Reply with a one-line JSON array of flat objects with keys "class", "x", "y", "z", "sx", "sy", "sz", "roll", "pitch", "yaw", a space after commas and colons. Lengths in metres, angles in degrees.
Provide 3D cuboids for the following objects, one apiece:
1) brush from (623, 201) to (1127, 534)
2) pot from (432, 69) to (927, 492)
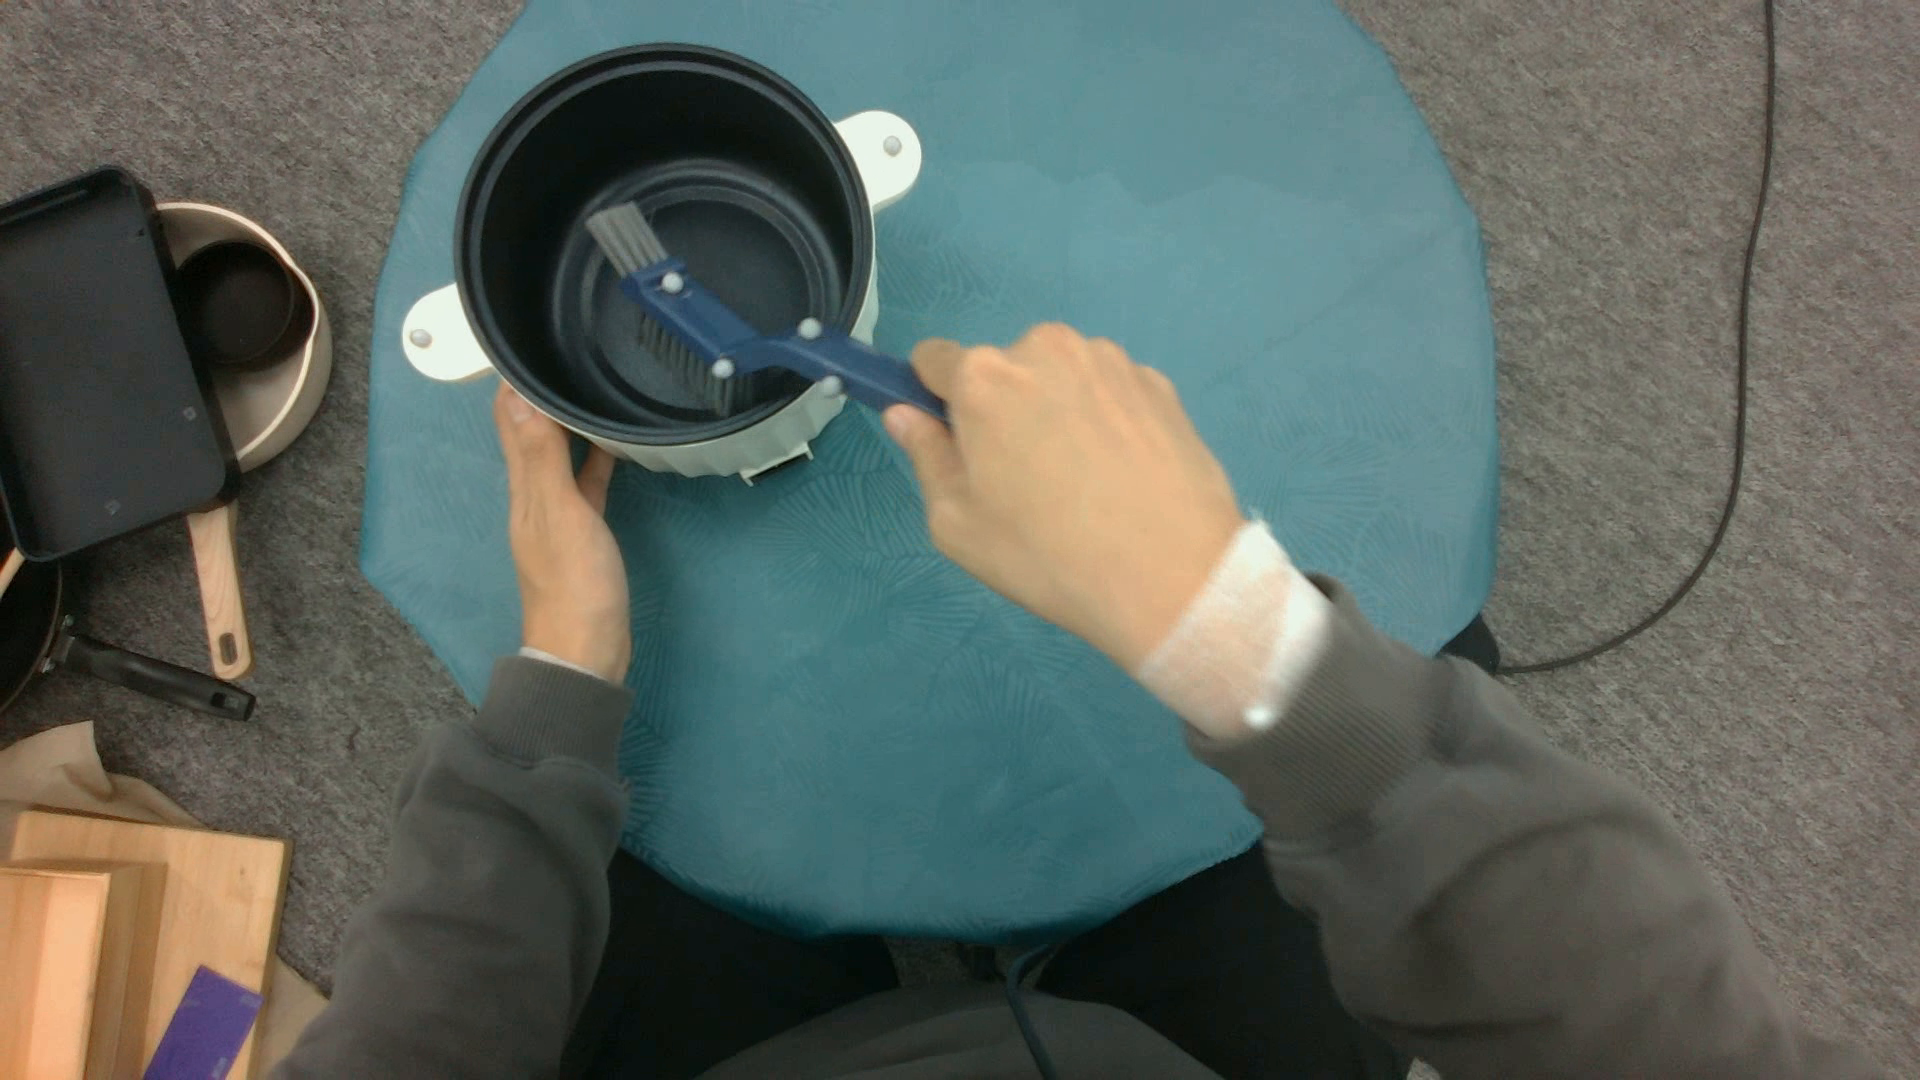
[{"class": "brush", "x": -0.049, "y": -0.073, "z": 0.556, "sx": 0.033, "sy": 0.273, "sz": 0.095, "roll": -27, "pitch": 125, "yaw": -38}, {"class": "pot", "x": -0.130, "y": -0.122, "z": 0.682, "sx": 0.240, "sy": 0.142, "sz": 0.190, "roll": -25, "pitch": 87, "yaw": -5}]
